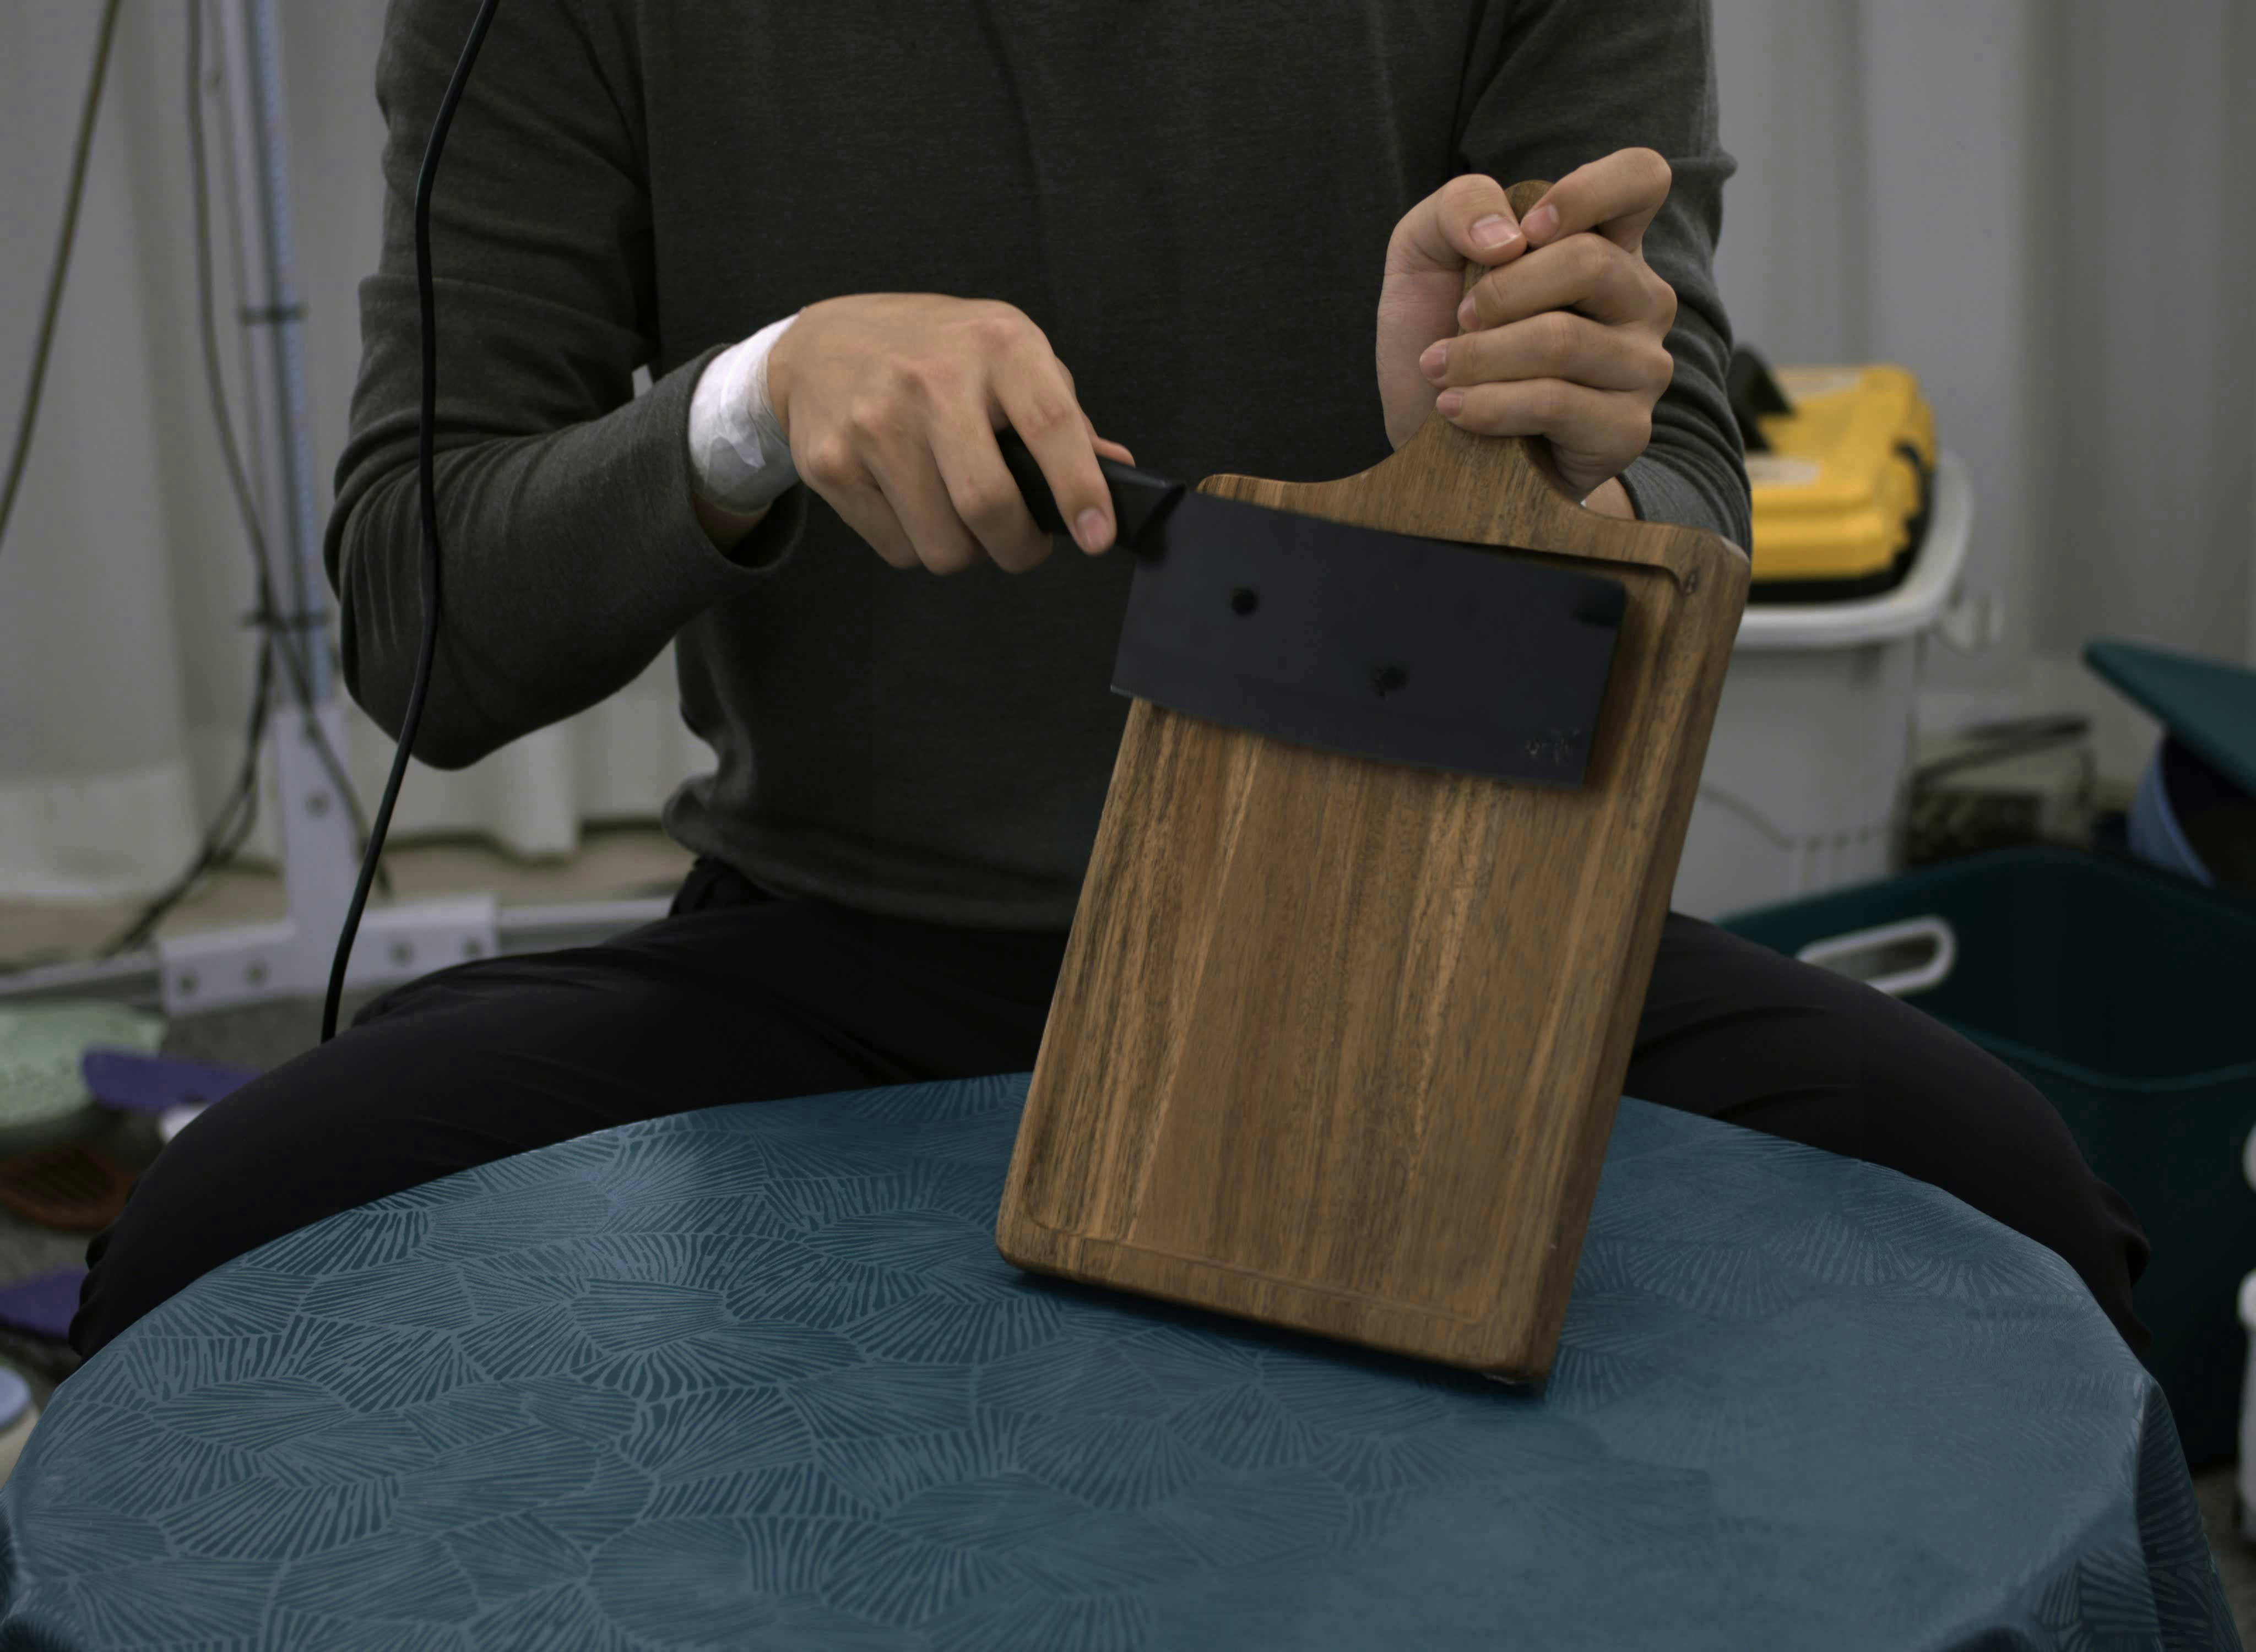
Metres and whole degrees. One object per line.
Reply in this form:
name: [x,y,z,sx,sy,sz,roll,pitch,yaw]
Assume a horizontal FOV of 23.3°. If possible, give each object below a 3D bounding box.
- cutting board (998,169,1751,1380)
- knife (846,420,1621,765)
cutting board: [0.081,-0.024,1.608,0.202,0.354,0.023,8,-11,38]
knife: [0.025,-0.075,1.650,0.304,0.081,0.020,20,6,40]
